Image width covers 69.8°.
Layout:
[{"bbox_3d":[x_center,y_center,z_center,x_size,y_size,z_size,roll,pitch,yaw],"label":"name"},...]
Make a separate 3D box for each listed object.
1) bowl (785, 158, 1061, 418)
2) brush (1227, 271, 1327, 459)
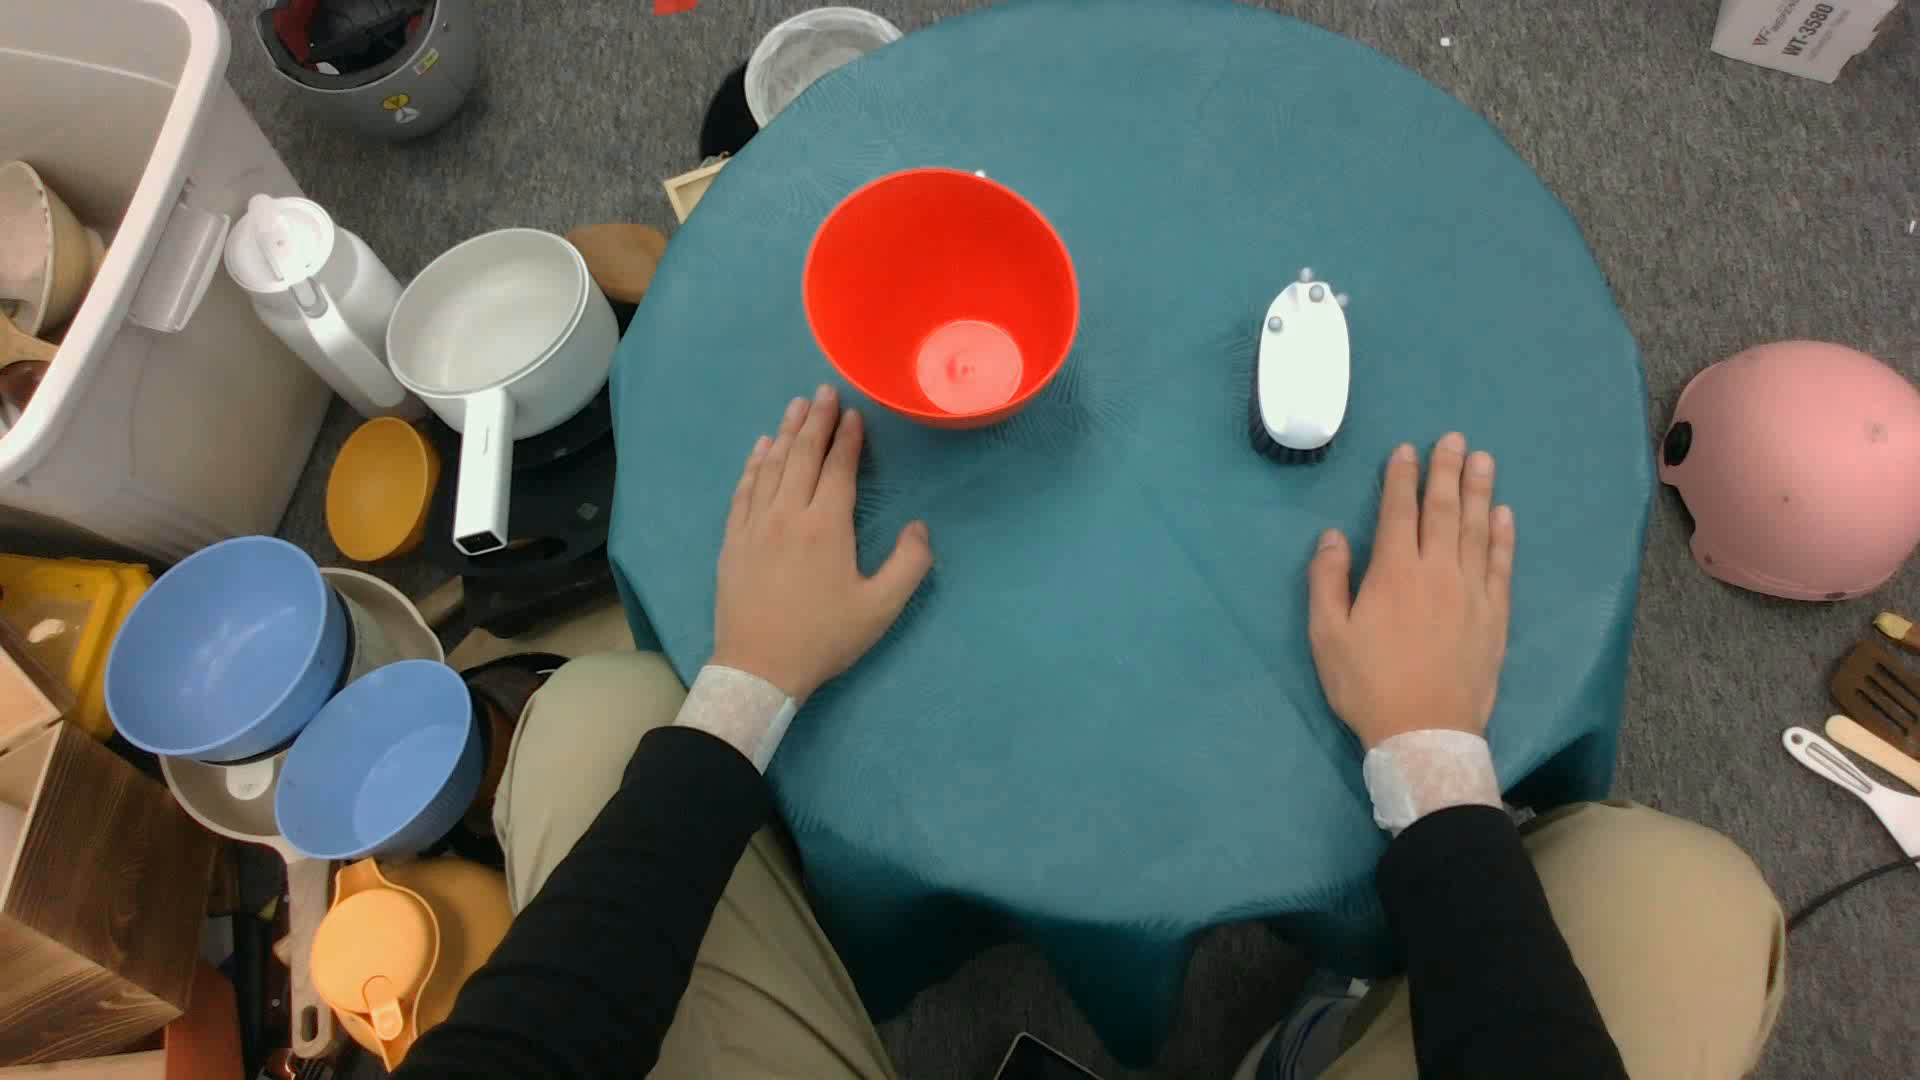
[{"bbox_3d":[-0.018,-0.127,0.777,0.148,0.104,0.148,0,72,1],"label":"bowl"},{"bbox_3d":[0.182,-0.105,0.774,0.050,0.072,0.099,8,71,4],"label":"brush"}]
